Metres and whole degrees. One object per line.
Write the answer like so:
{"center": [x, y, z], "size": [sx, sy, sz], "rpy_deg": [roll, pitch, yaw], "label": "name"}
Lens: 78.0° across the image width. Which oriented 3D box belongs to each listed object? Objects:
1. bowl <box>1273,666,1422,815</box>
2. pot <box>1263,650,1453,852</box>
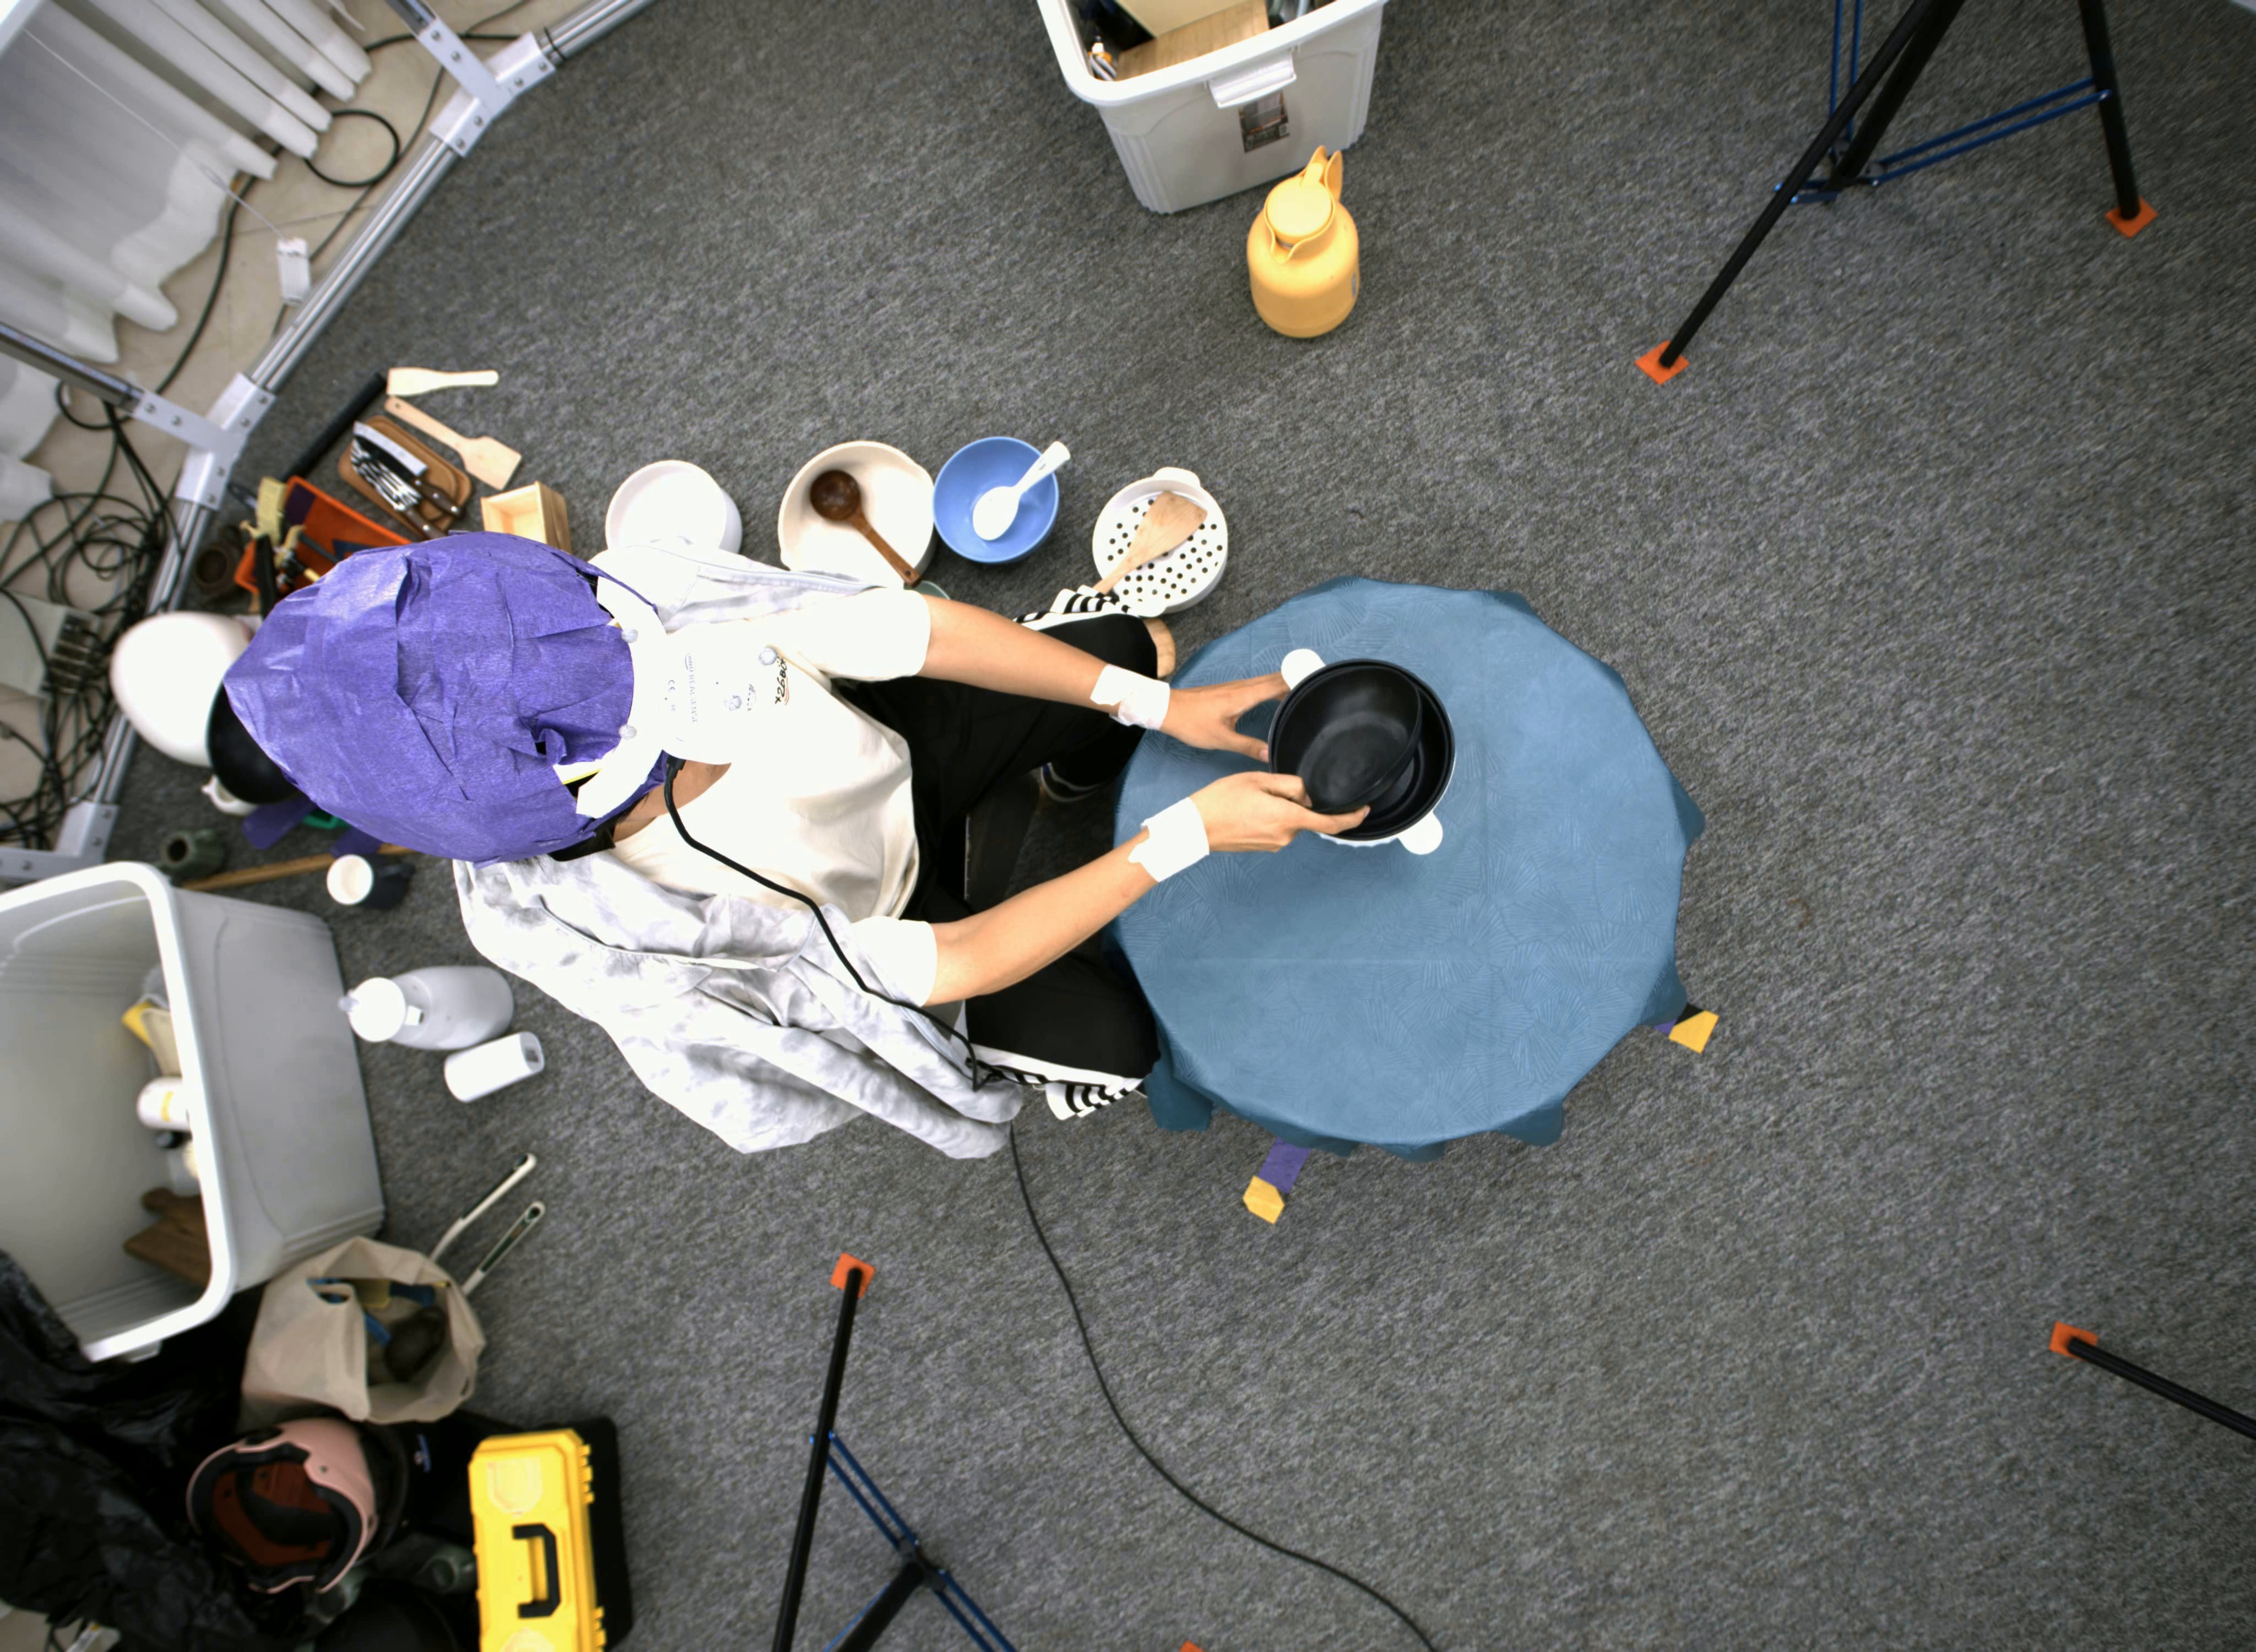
{"center": [0.216, -0.072, 1.311], "size": [0.137, 0.068, 0.168], "rpy_deg": [19, 69, 40], "label": "bowl"}
{"center": [0.240, -0.074, 1.401], "size": [0.192, 0.142, 0.239], "rpy_deg": [-37, 81, 9], "label": "pot"}
